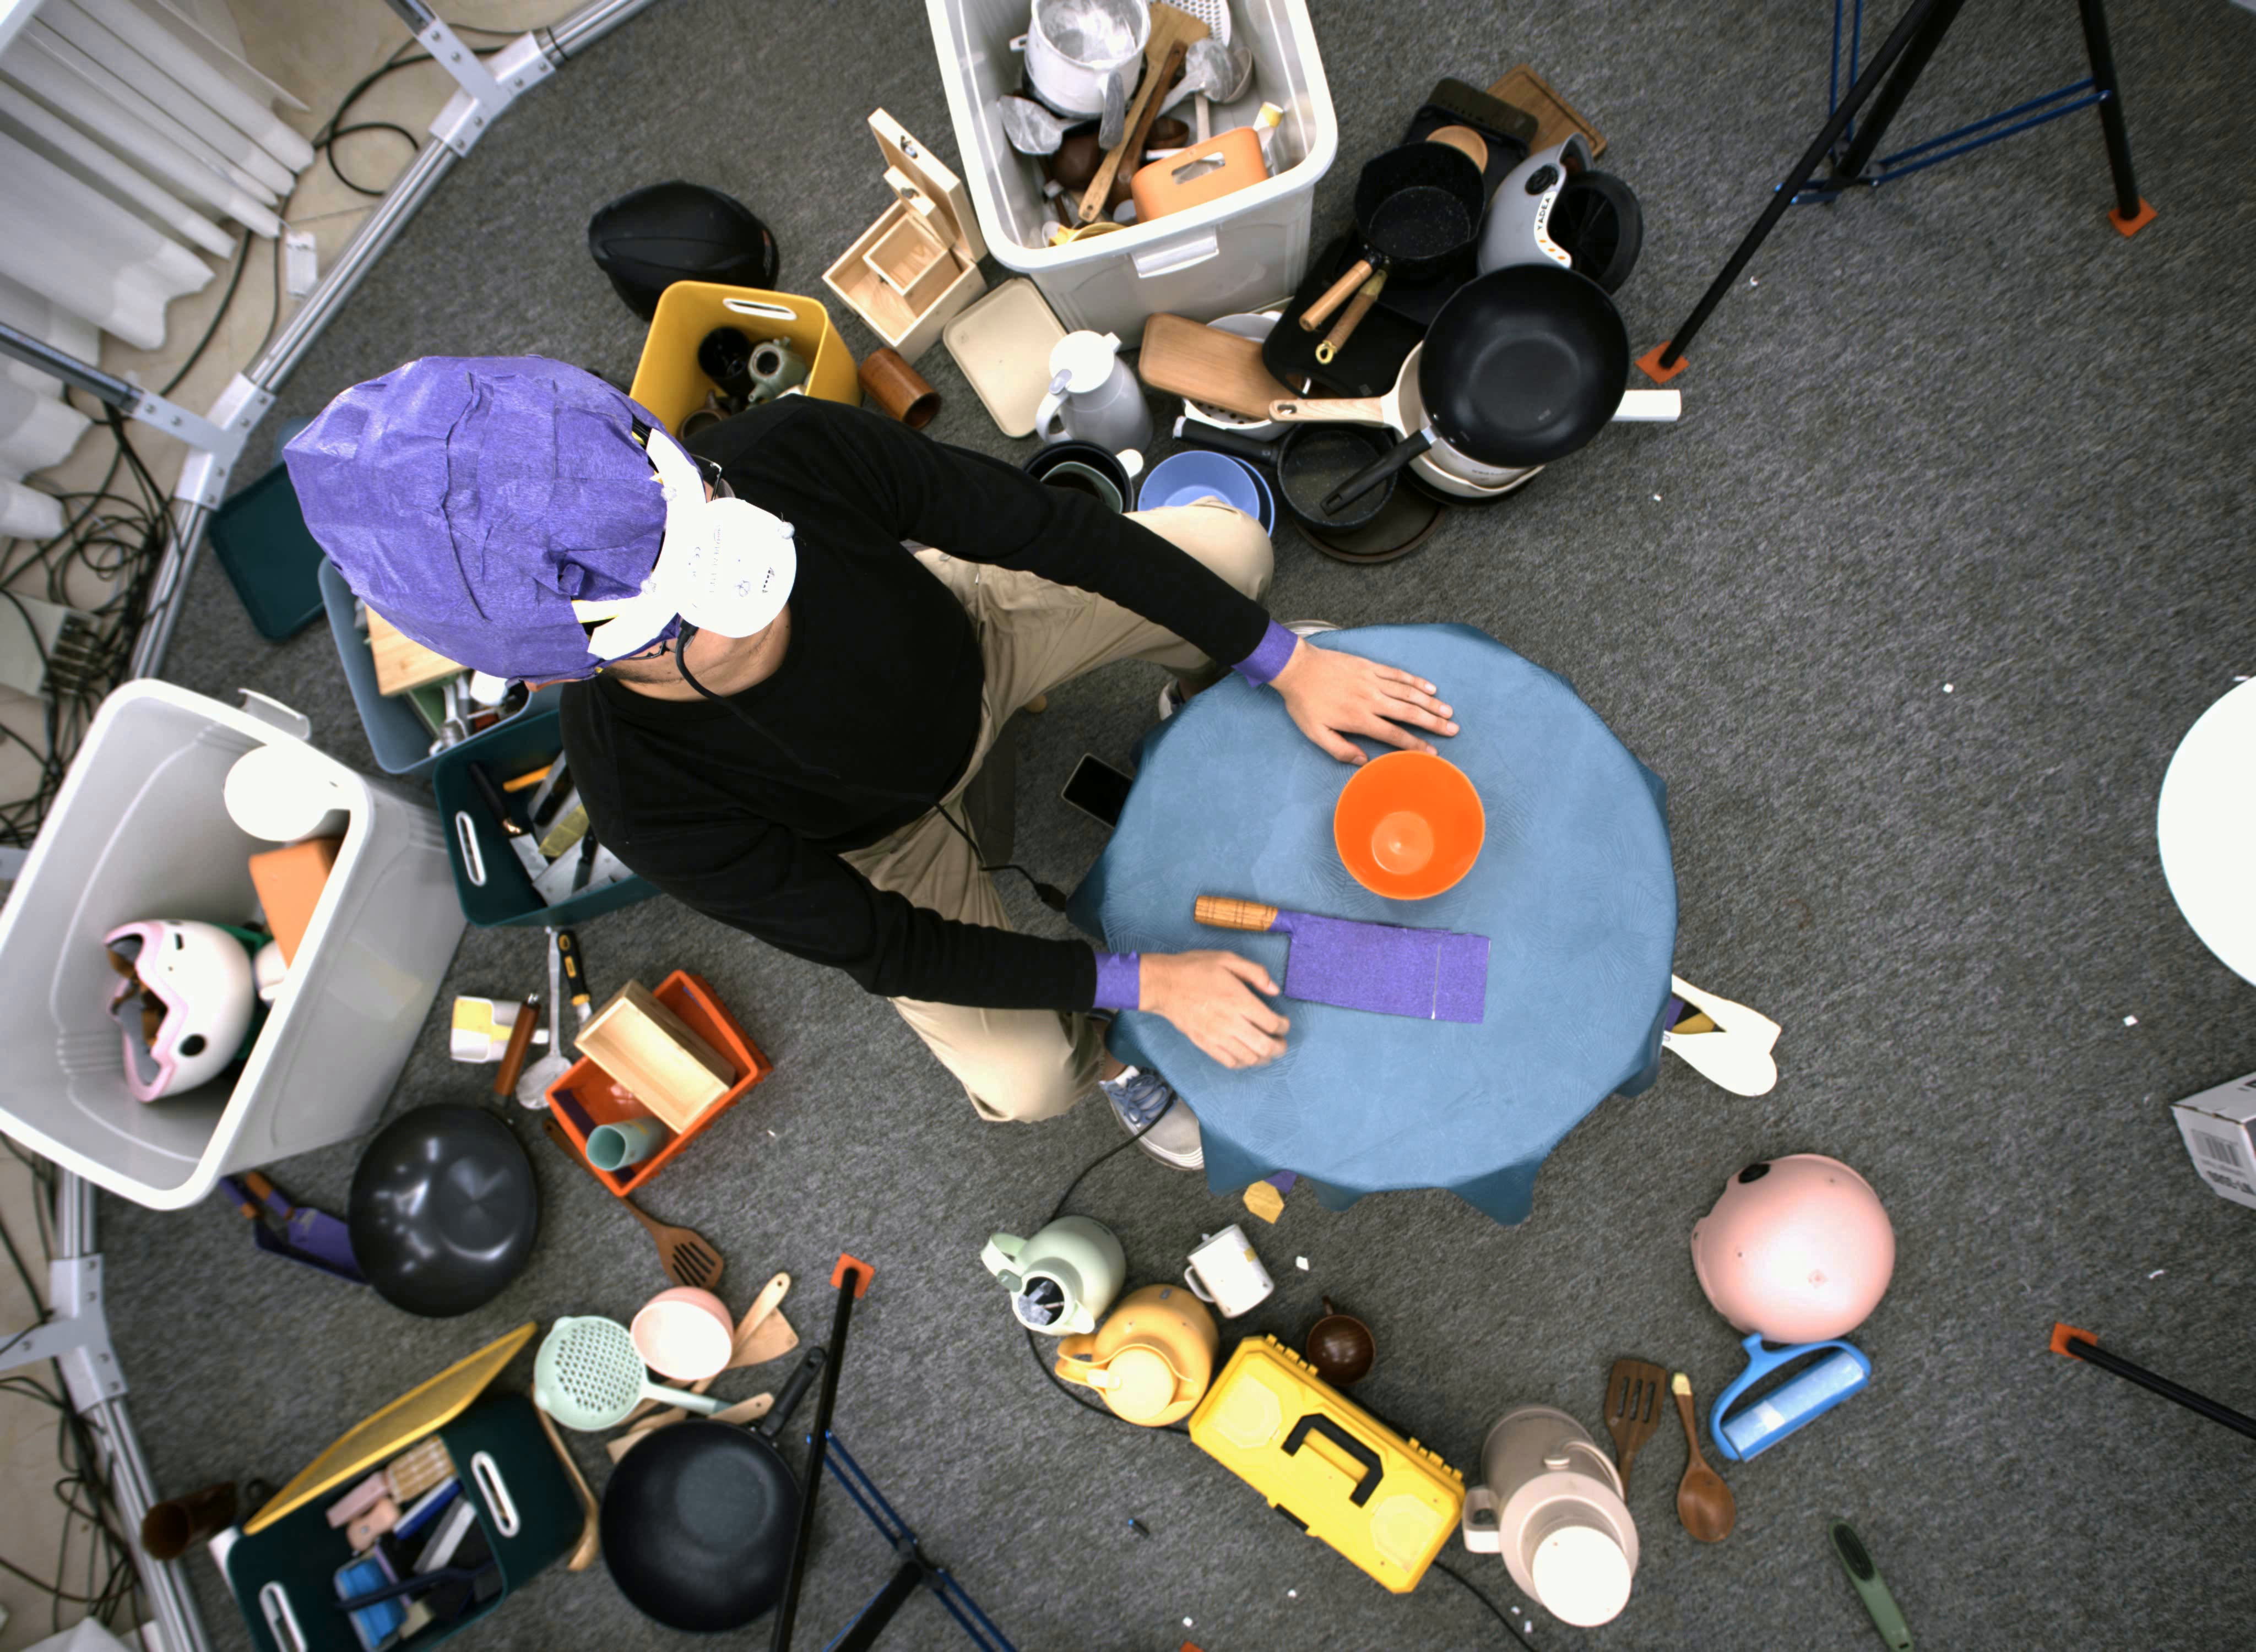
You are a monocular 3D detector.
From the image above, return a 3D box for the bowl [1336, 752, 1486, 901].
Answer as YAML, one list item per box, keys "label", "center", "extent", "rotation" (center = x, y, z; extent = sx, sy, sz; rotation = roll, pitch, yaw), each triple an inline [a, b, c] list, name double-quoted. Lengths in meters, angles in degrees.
- label: "bowl"
  center: [0.287, 0.003, 1.410]
  extent: [0.148, 0.104, 0.147]
  rotation: [-1, 87, 9]

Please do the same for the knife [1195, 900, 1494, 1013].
- label: "knife"
  center: [0.222, 0.138, 1.454]
  extent: [0.316, 0.032, 0.103]
  rotation: [6, 88, 11]
